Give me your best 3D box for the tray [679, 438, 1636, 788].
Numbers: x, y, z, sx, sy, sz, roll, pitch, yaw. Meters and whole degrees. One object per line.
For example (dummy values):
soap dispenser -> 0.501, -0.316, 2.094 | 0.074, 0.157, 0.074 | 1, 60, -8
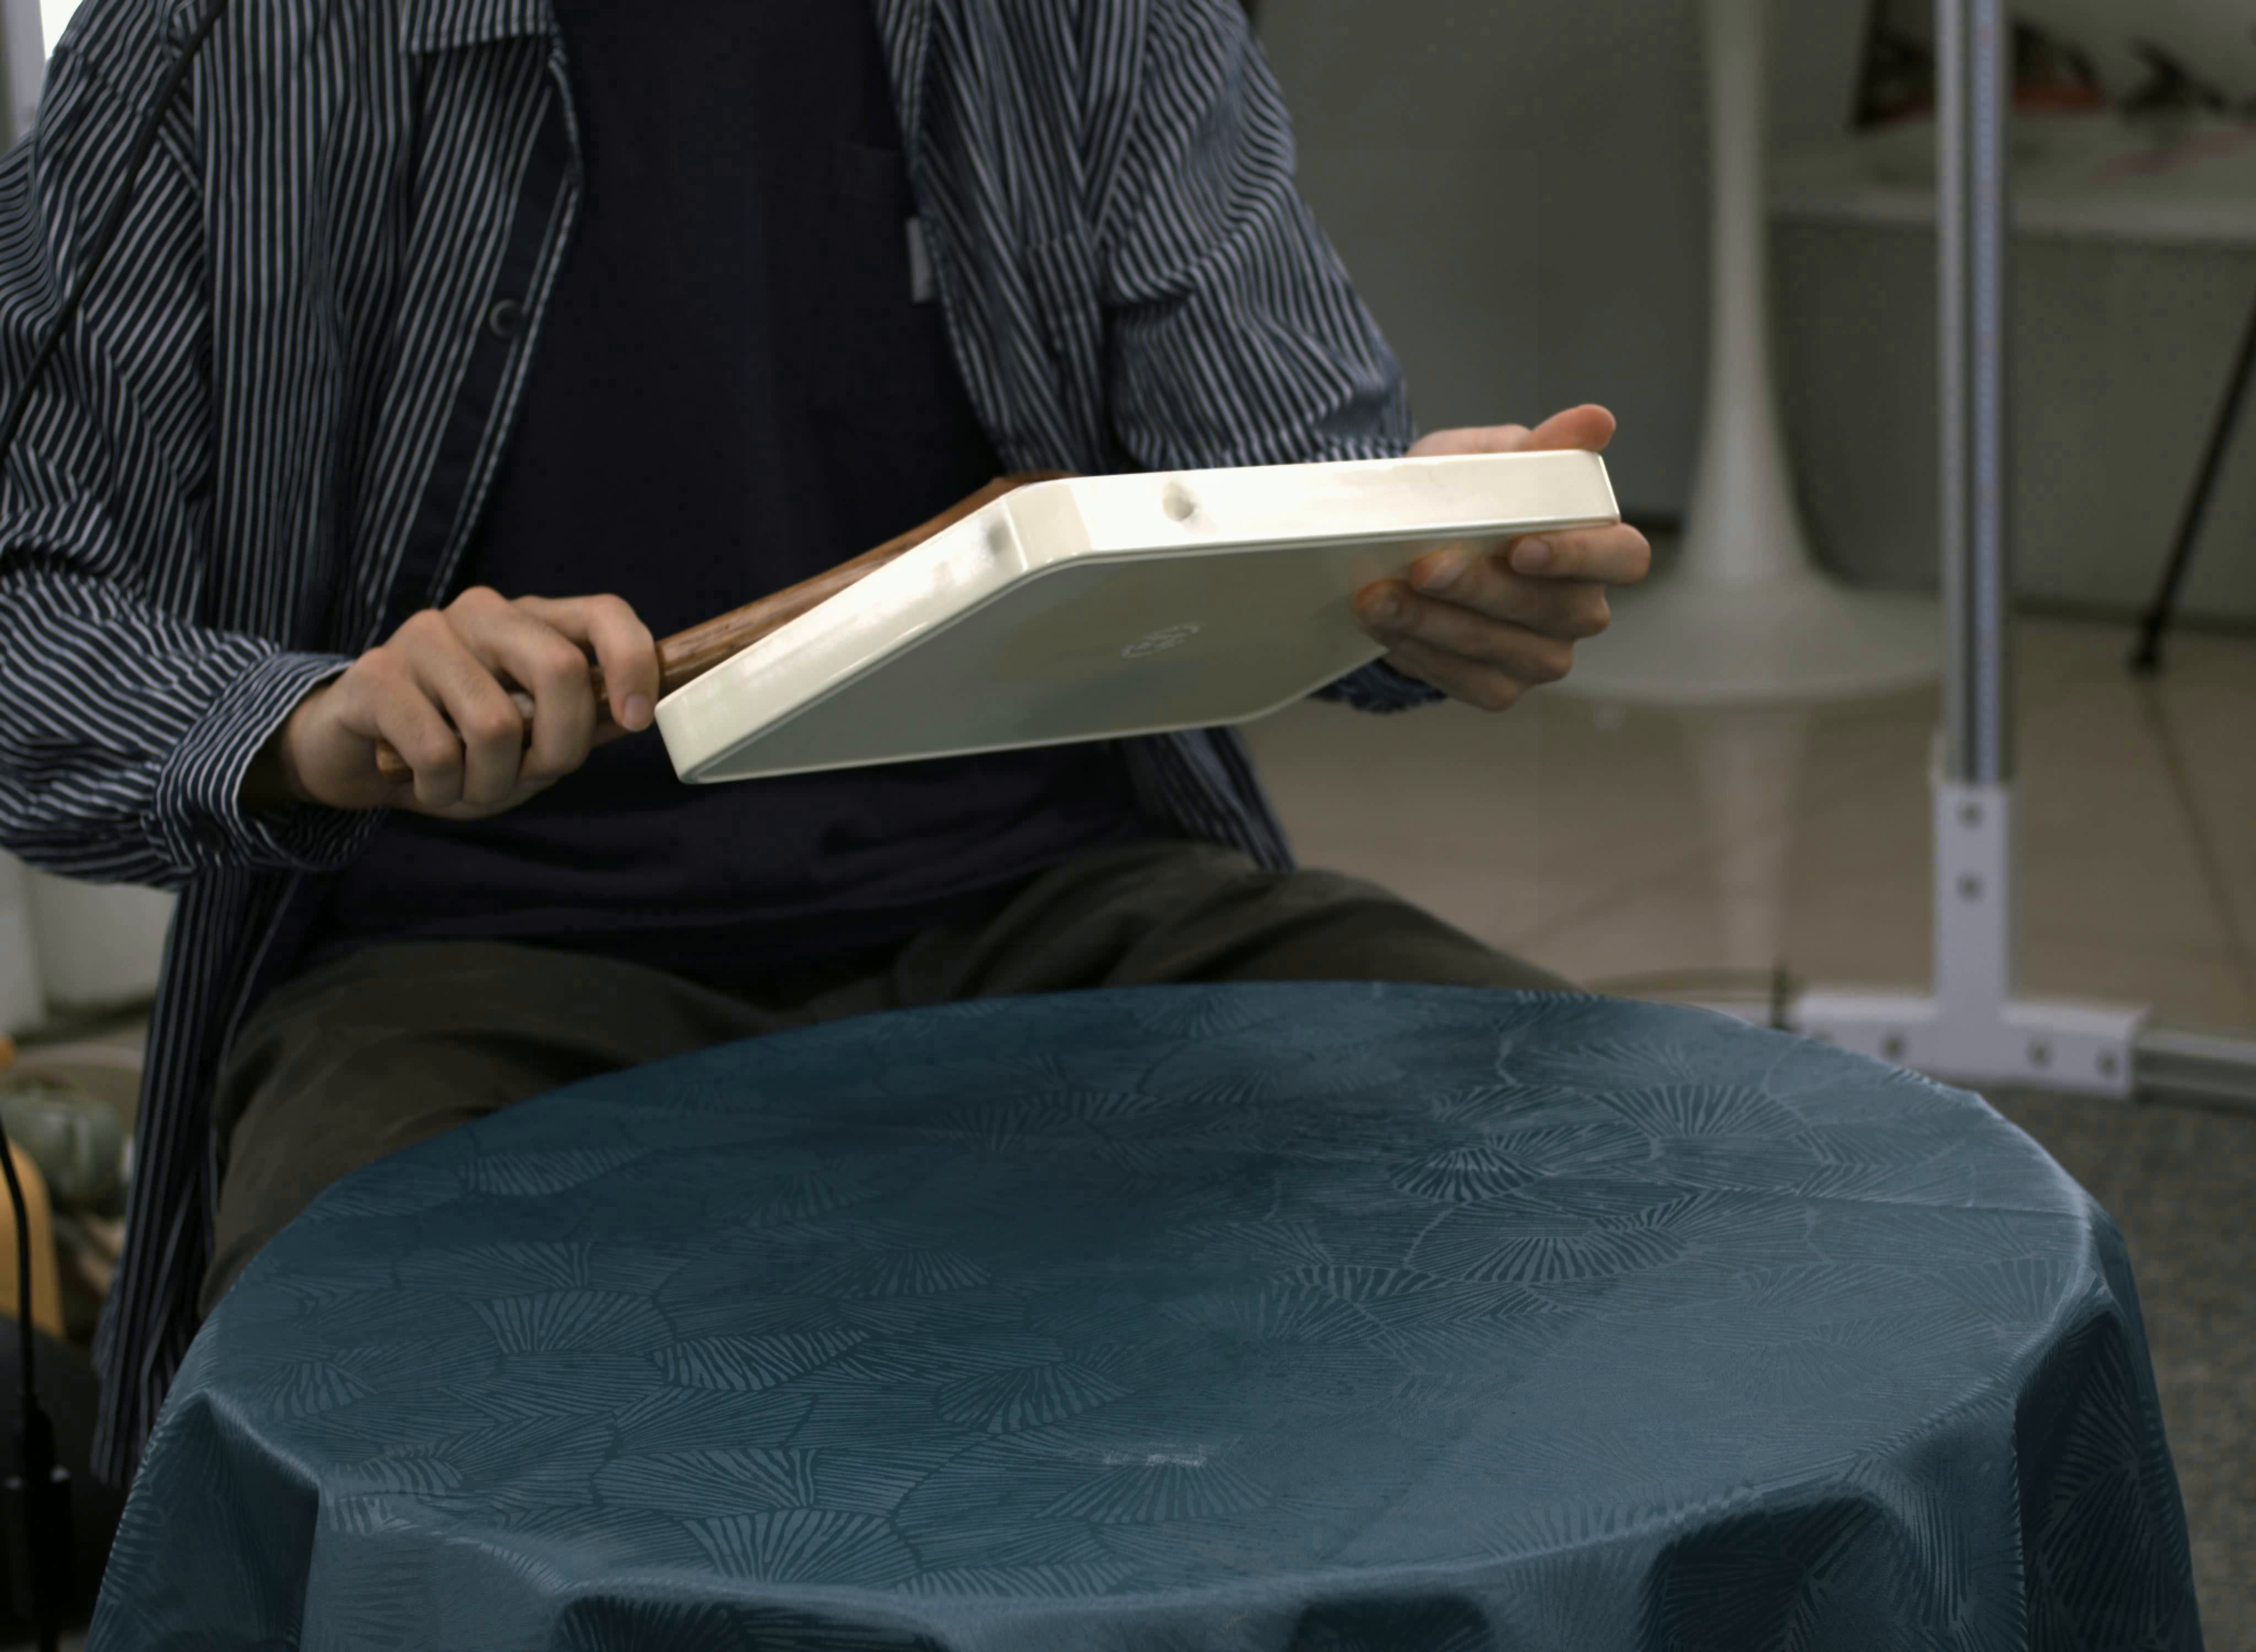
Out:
tray -> 0.014, -0.070, 1.760 | 0.294, 0.028, 0.193 | -7, -18, -47

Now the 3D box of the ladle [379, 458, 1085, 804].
ladle -> -0.117, -0.051, 1.828 | 0.273, 0.076, 0.083 | -22, 49, 14
